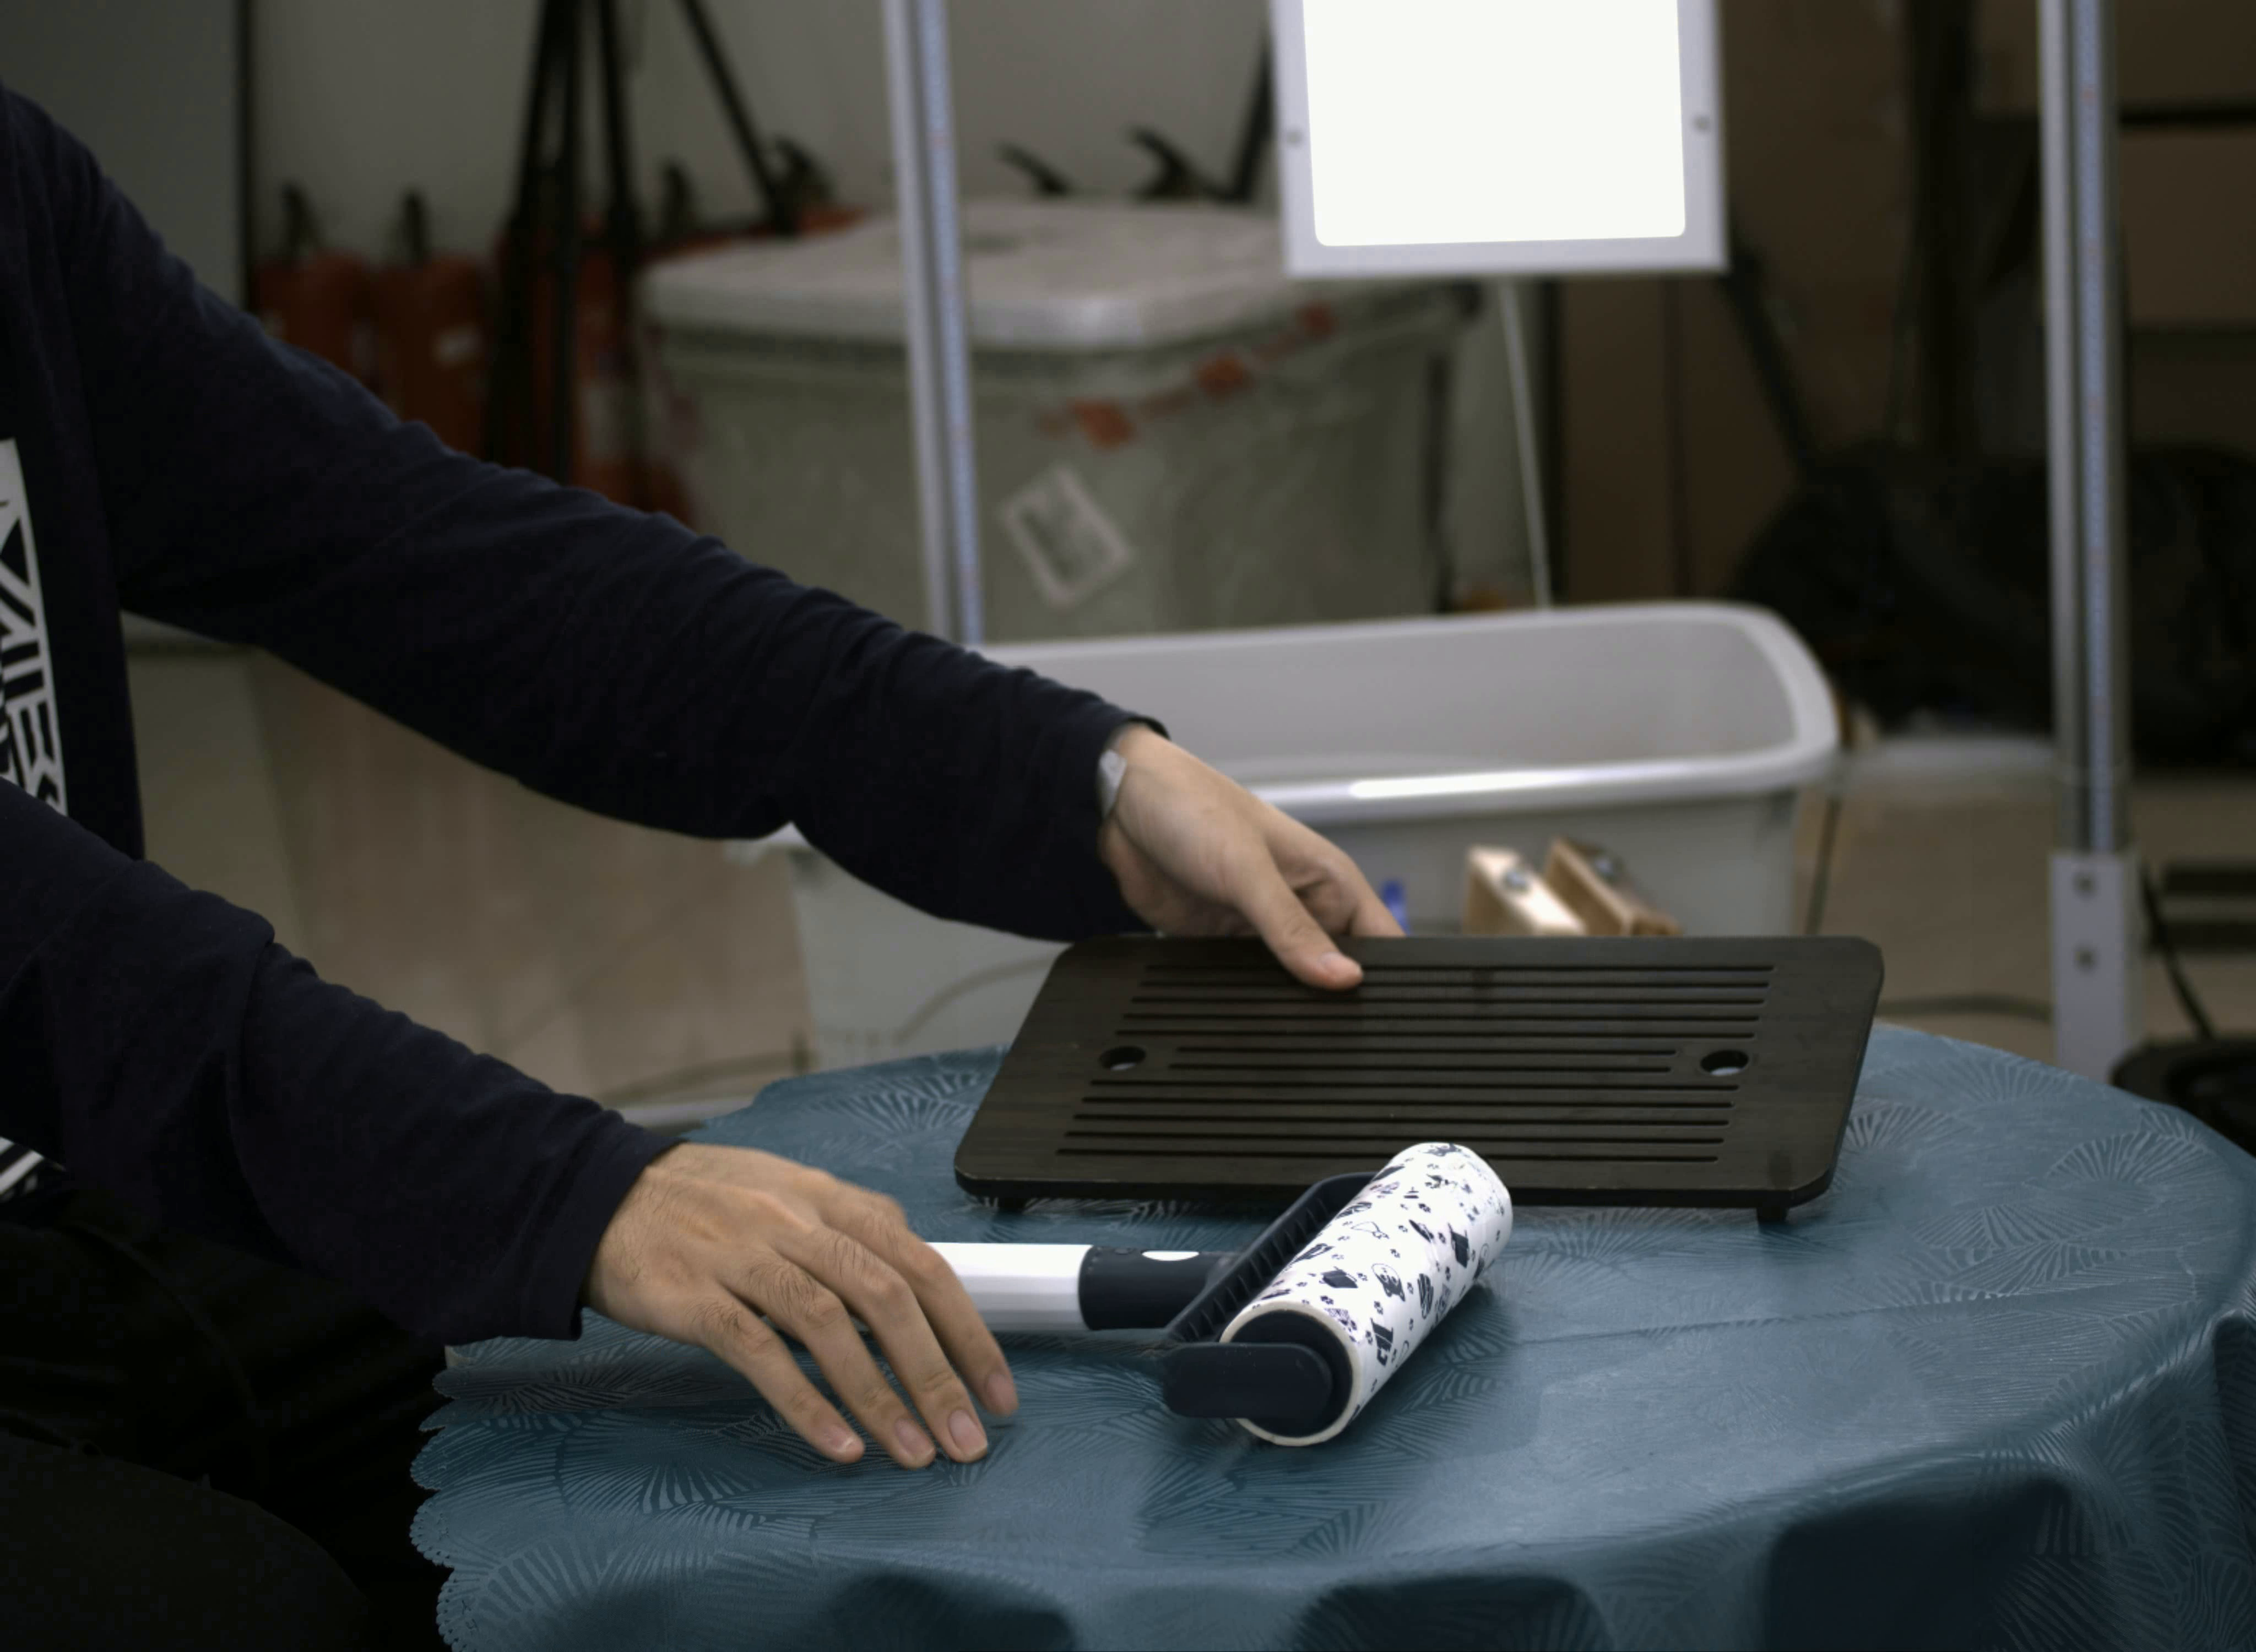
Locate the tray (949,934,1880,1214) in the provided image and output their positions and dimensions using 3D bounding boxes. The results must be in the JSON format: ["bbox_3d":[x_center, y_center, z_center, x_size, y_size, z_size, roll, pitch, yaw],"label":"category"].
[{"bbox_3d":[0.102,0.086,1.917,0.310,0.018,0.167,-1,28,19],"label":"tray"}]

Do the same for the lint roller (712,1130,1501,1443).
[{"bbox_3d":[-0.021,0.146,1.746,0.251,0.050,0.173,-3,14,23],"label":"lint roller"}]
